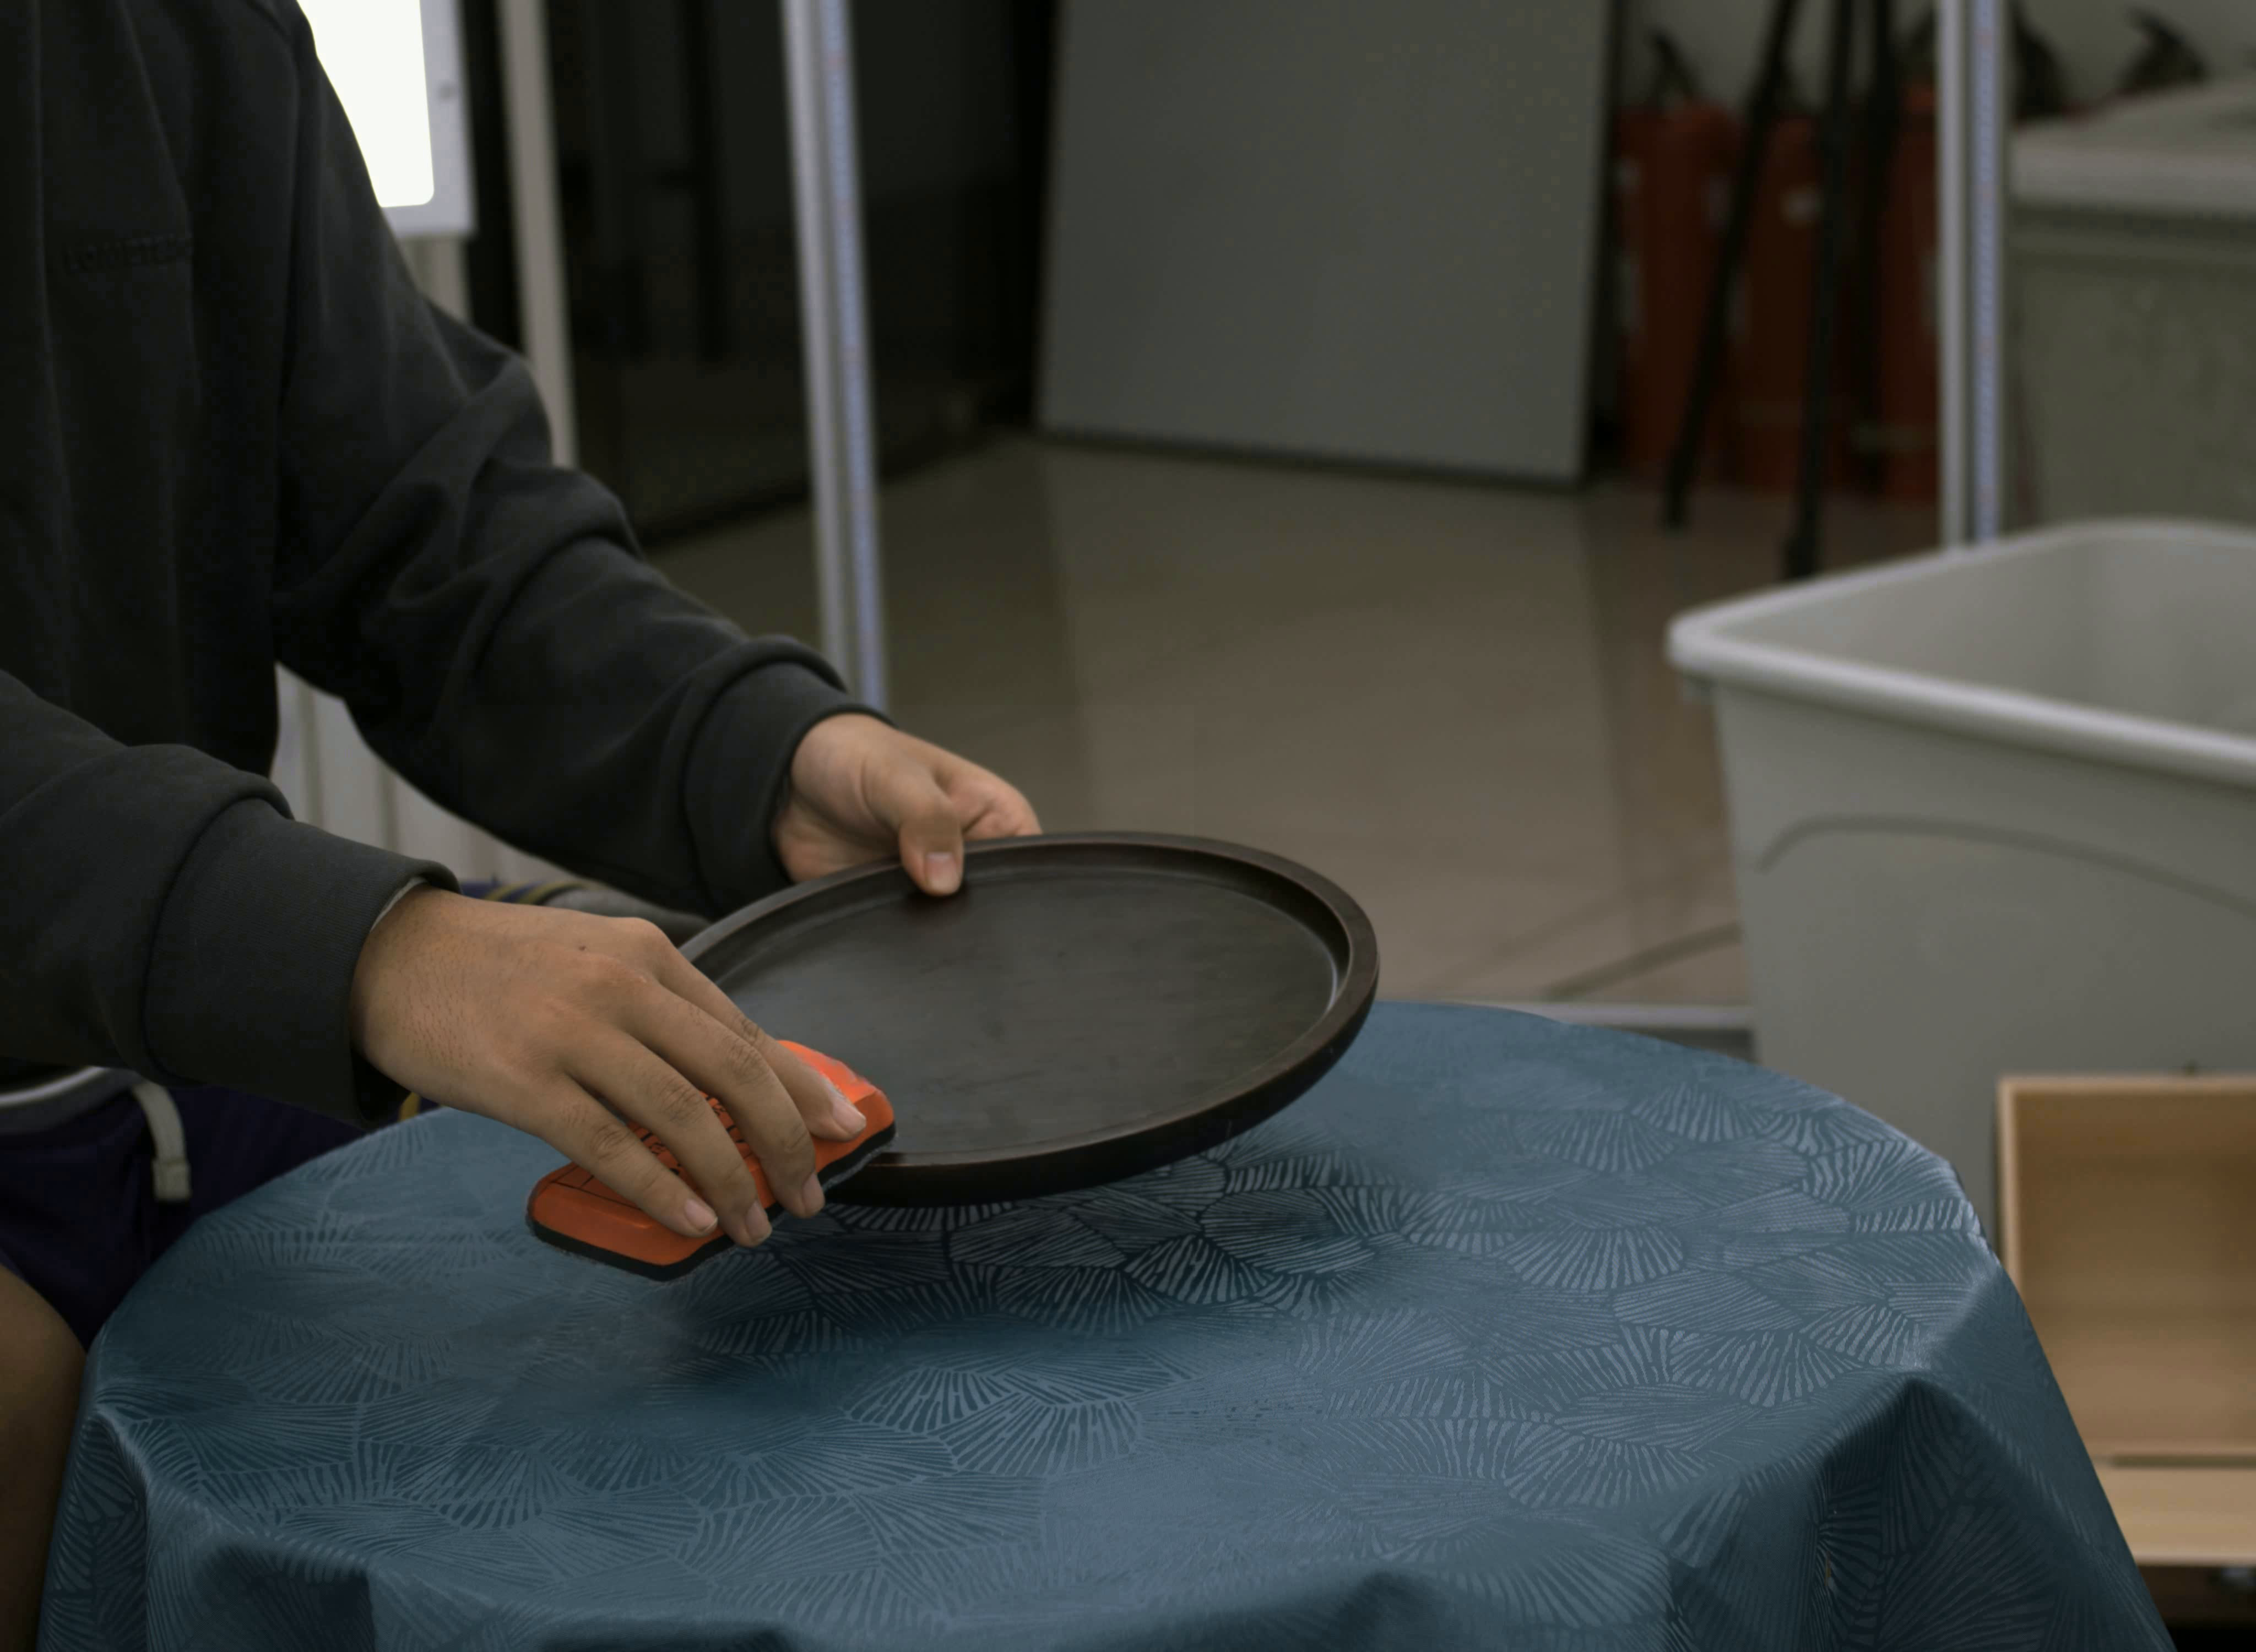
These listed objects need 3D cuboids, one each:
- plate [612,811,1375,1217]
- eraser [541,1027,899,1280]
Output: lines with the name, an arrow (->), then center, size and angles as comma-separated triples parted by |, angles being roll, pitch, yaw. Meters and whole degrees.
plate -> -0.043, 0.062, 1.755 | 0.252, 0.029, 0.255 | -9, 23, 3
eraser -> -0.123, 0.098, 1.634 | 0.059, 0.023, 0.106 | 12, 34, 42
